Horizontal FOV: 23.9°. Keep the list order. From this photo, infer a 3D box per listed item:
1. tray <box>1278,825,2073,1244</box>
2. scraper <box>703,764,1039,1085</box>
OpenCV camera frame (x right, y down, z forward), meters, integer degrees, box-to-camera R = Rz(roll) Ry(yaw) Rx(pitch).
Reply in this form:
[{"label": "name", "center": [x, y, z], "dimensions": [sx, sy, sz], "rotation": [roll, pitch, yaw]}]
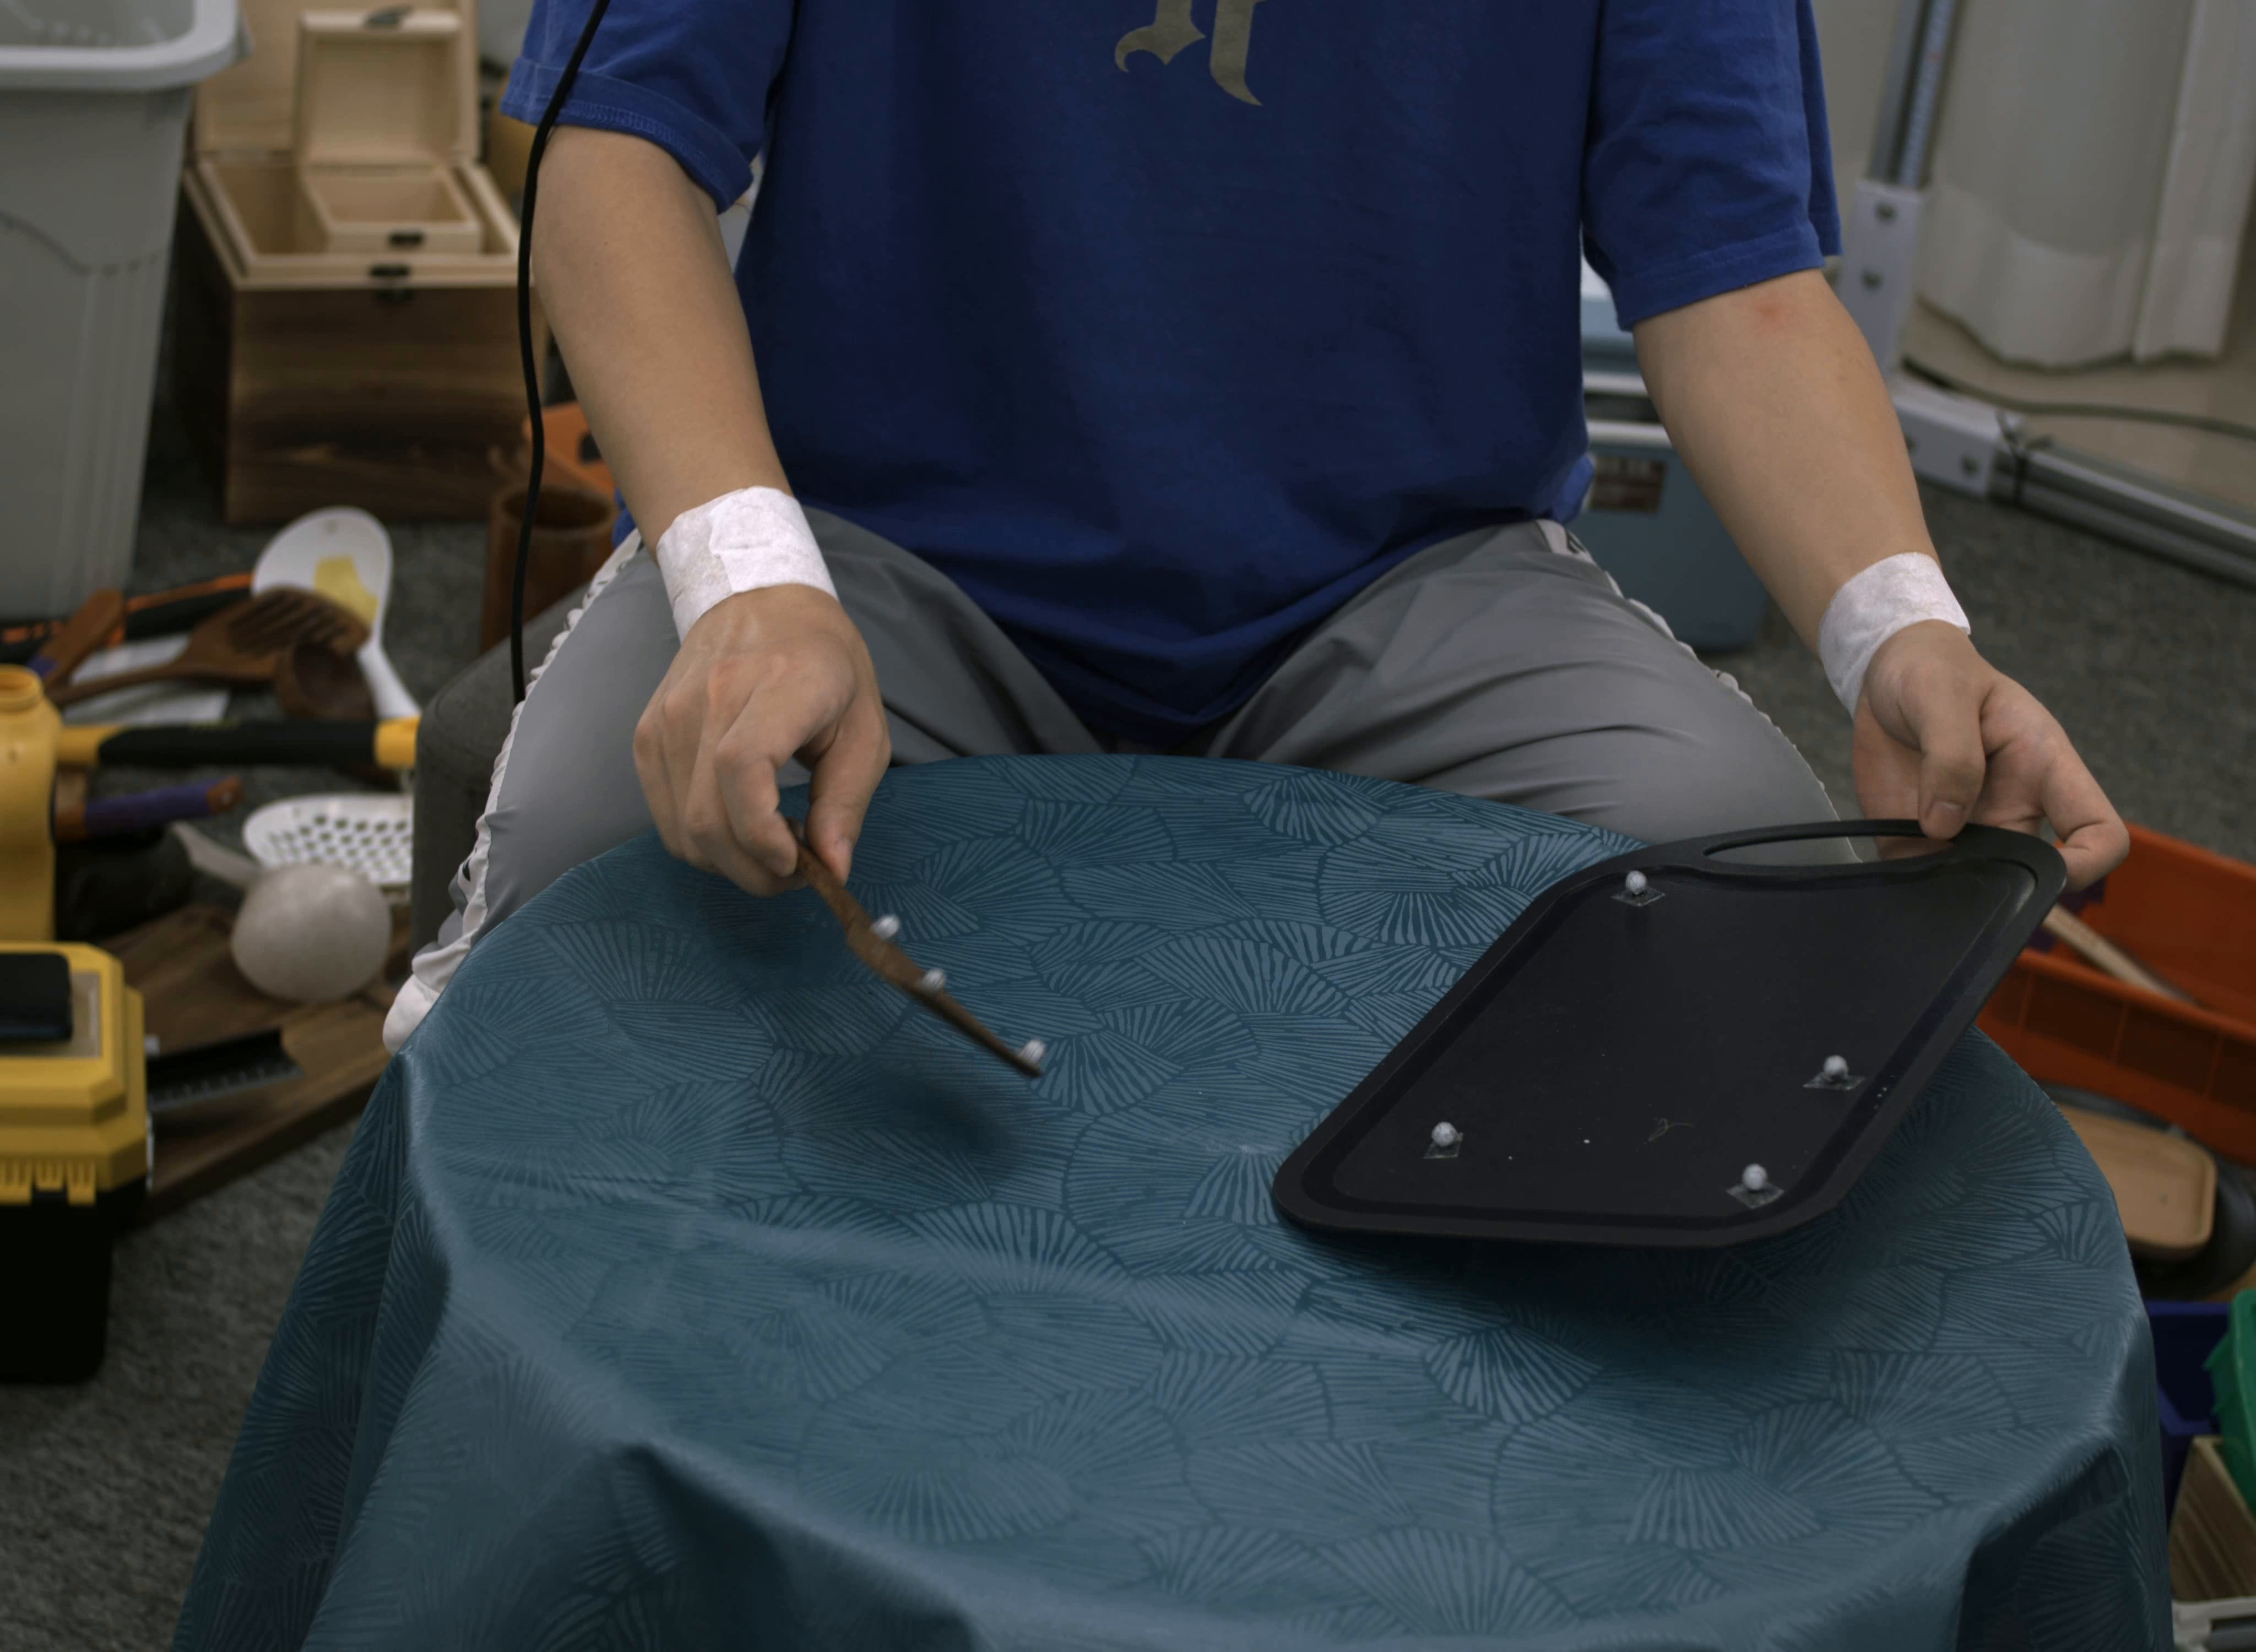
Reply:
[{"label": "tray", "center": [0.198, 0.066, 1.869], "dimensions": [0.212, 0.010, 0.325], "rotation": [0, 24, 31]}, {"label": "scraper", "center": [-0.100, 0.030, 1.870], "dimensions": [0.075, 0.011, 0.213], "rotation": [37, 5, -40]}]
